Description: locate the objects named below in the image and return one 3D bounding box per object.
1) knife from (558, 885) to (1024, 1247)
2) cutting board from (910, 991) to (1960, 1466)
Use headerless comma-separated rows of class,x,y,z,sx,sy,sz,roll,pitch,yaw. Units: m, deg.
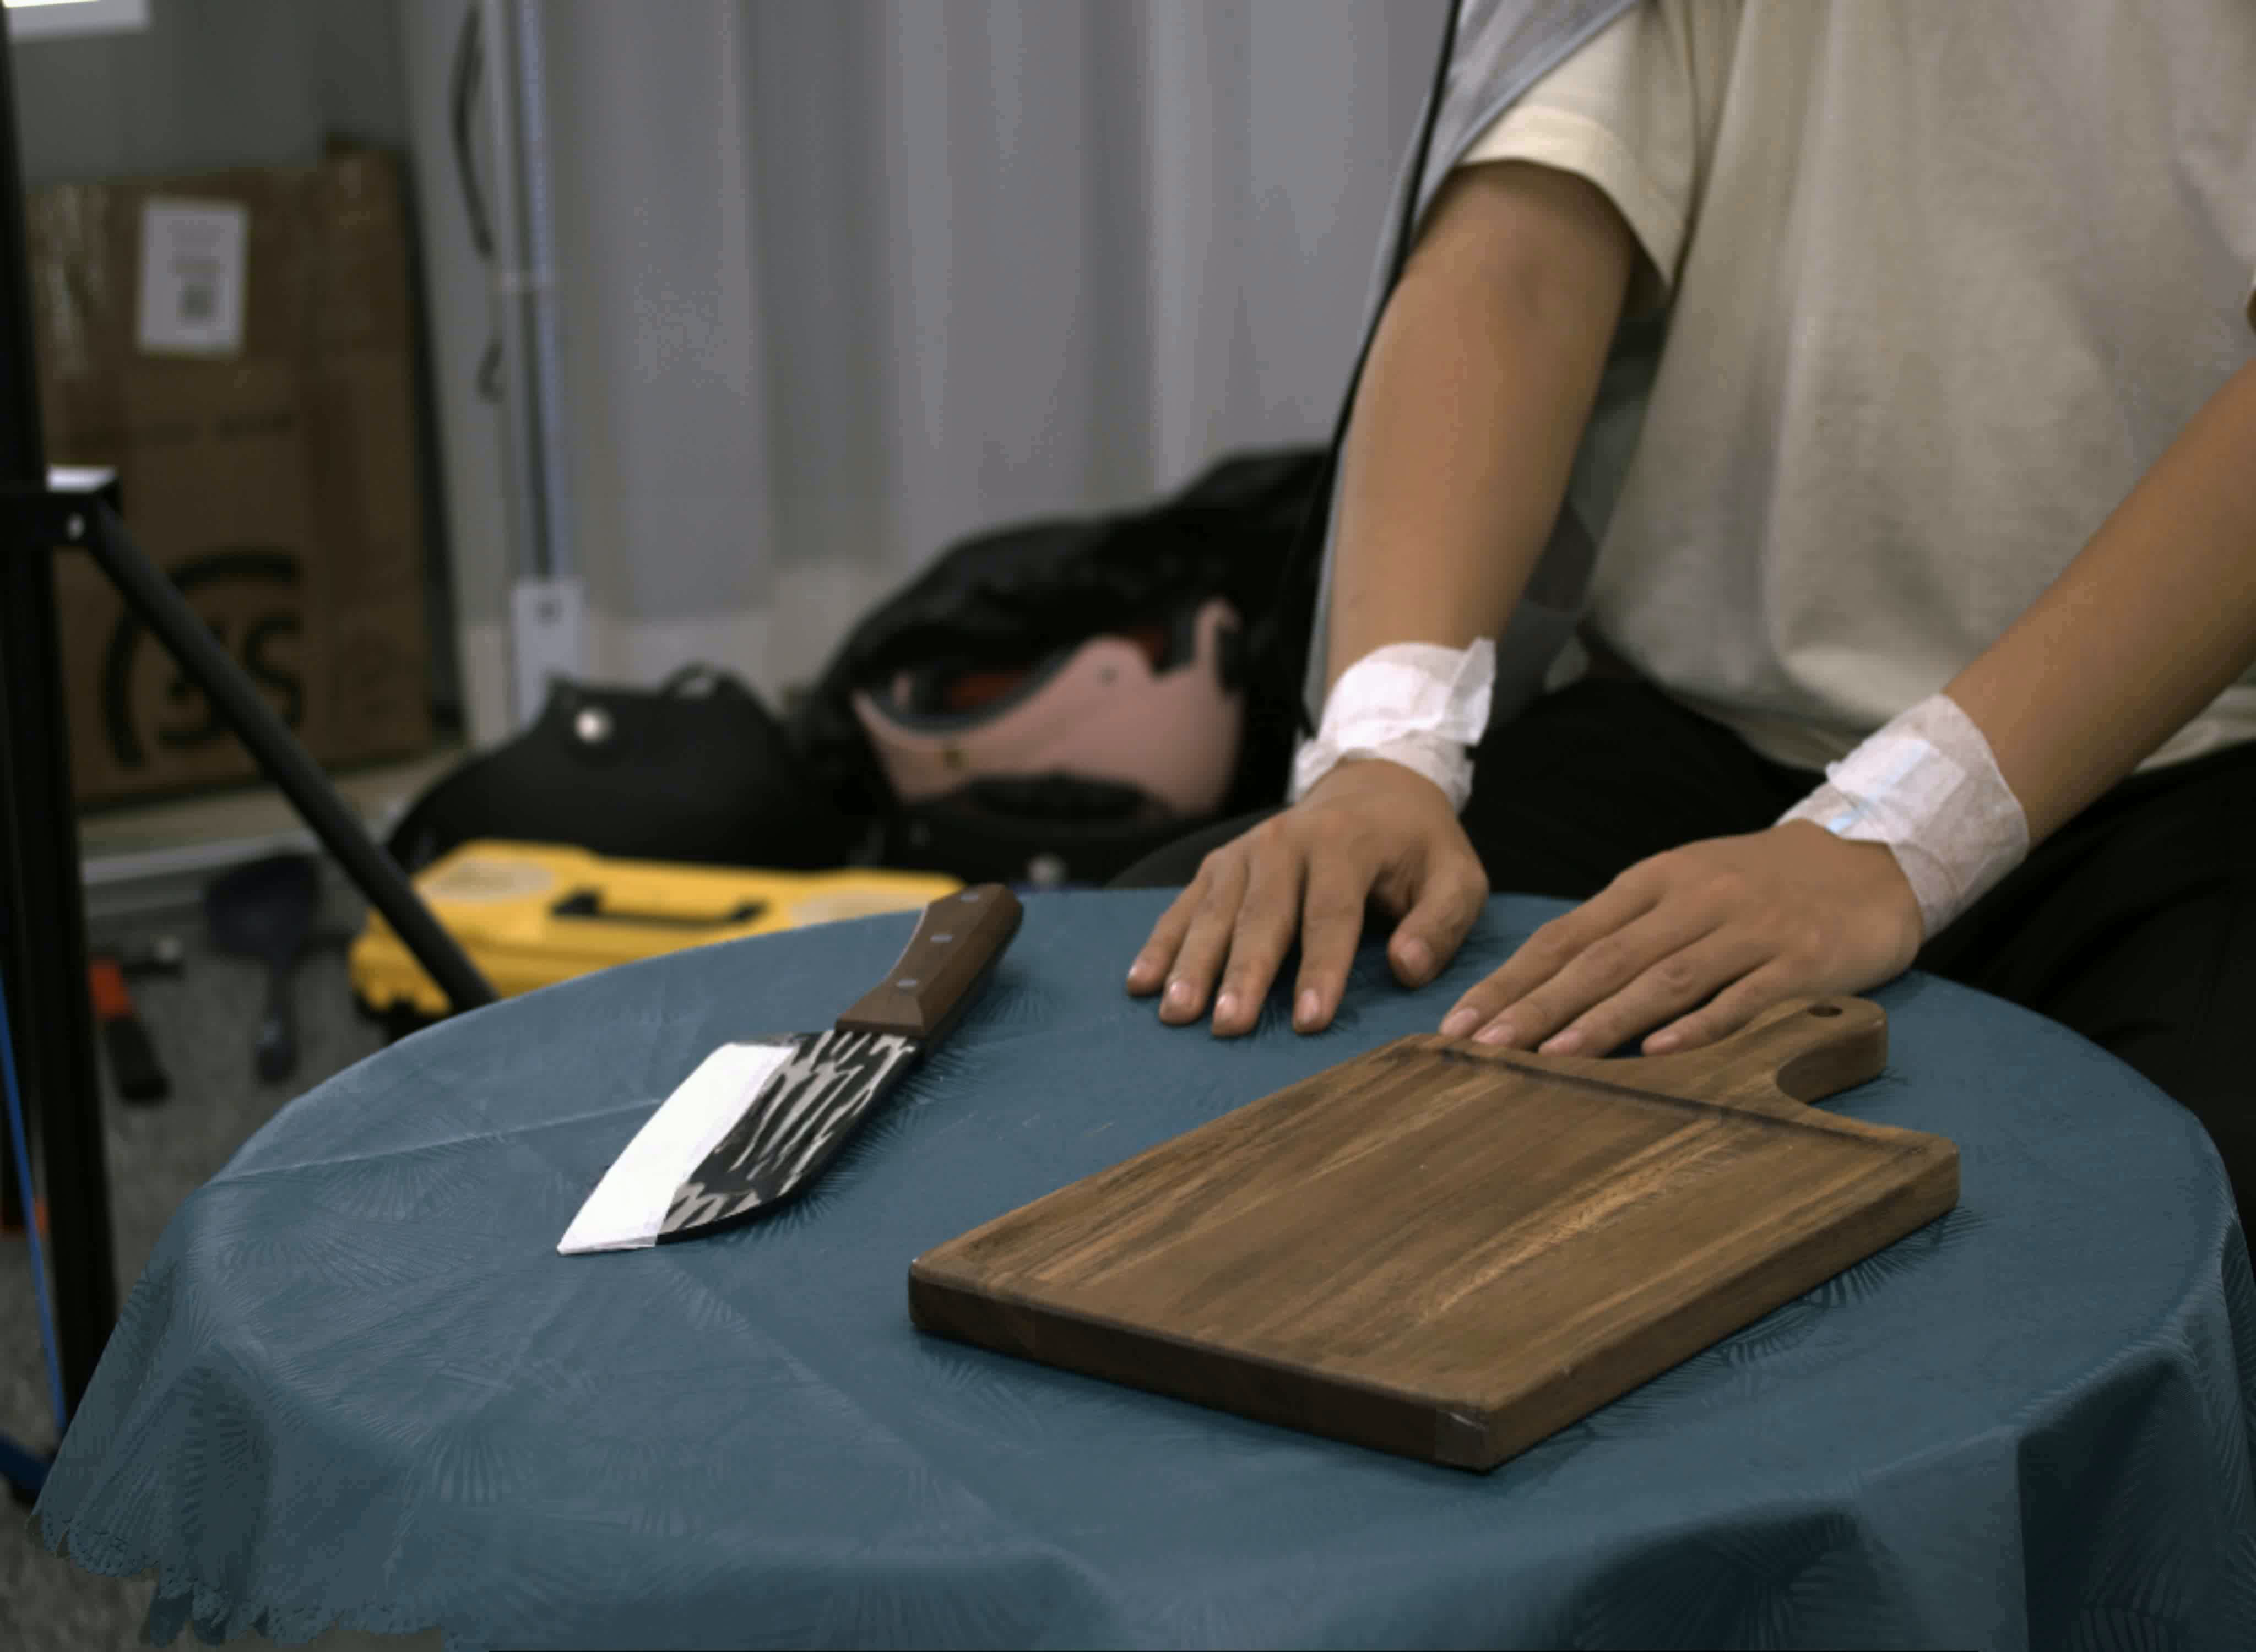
knife,-0.100,0.075,1.656,0.069,0.024,0.297,0,18,17
cutting board,0.120,0.102,1.519,0.205,0.023,0.344,10,19,37
